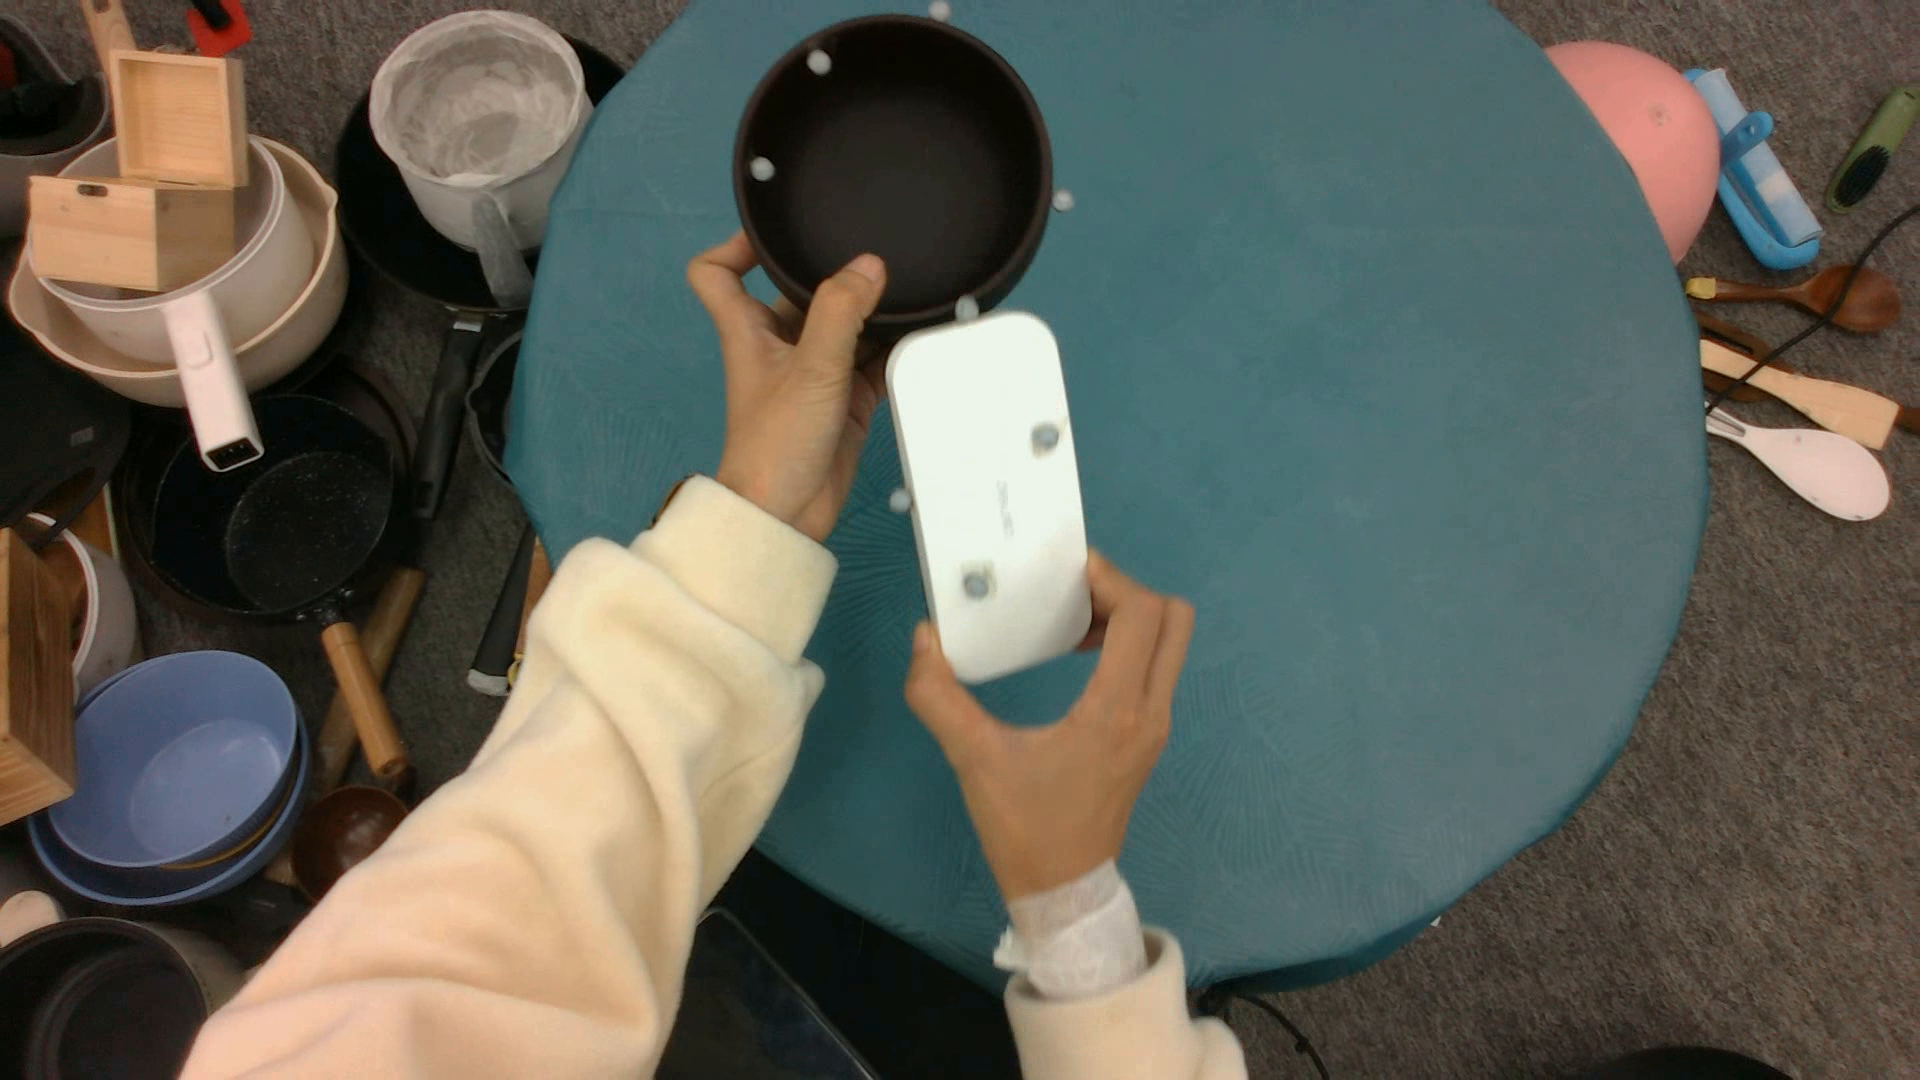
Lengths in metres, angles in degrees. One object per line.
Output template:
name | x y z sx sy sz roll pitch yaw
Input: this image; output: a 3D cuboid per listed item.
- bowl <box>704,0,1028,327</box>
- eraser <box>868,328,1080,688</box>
bowl | -0.034 -0.138 0.525 0.118 0.070 0.118 0 90 0
eraser | 0.004 -0.011 0.508 0.063 0.034 0.131 -15 109 -14
